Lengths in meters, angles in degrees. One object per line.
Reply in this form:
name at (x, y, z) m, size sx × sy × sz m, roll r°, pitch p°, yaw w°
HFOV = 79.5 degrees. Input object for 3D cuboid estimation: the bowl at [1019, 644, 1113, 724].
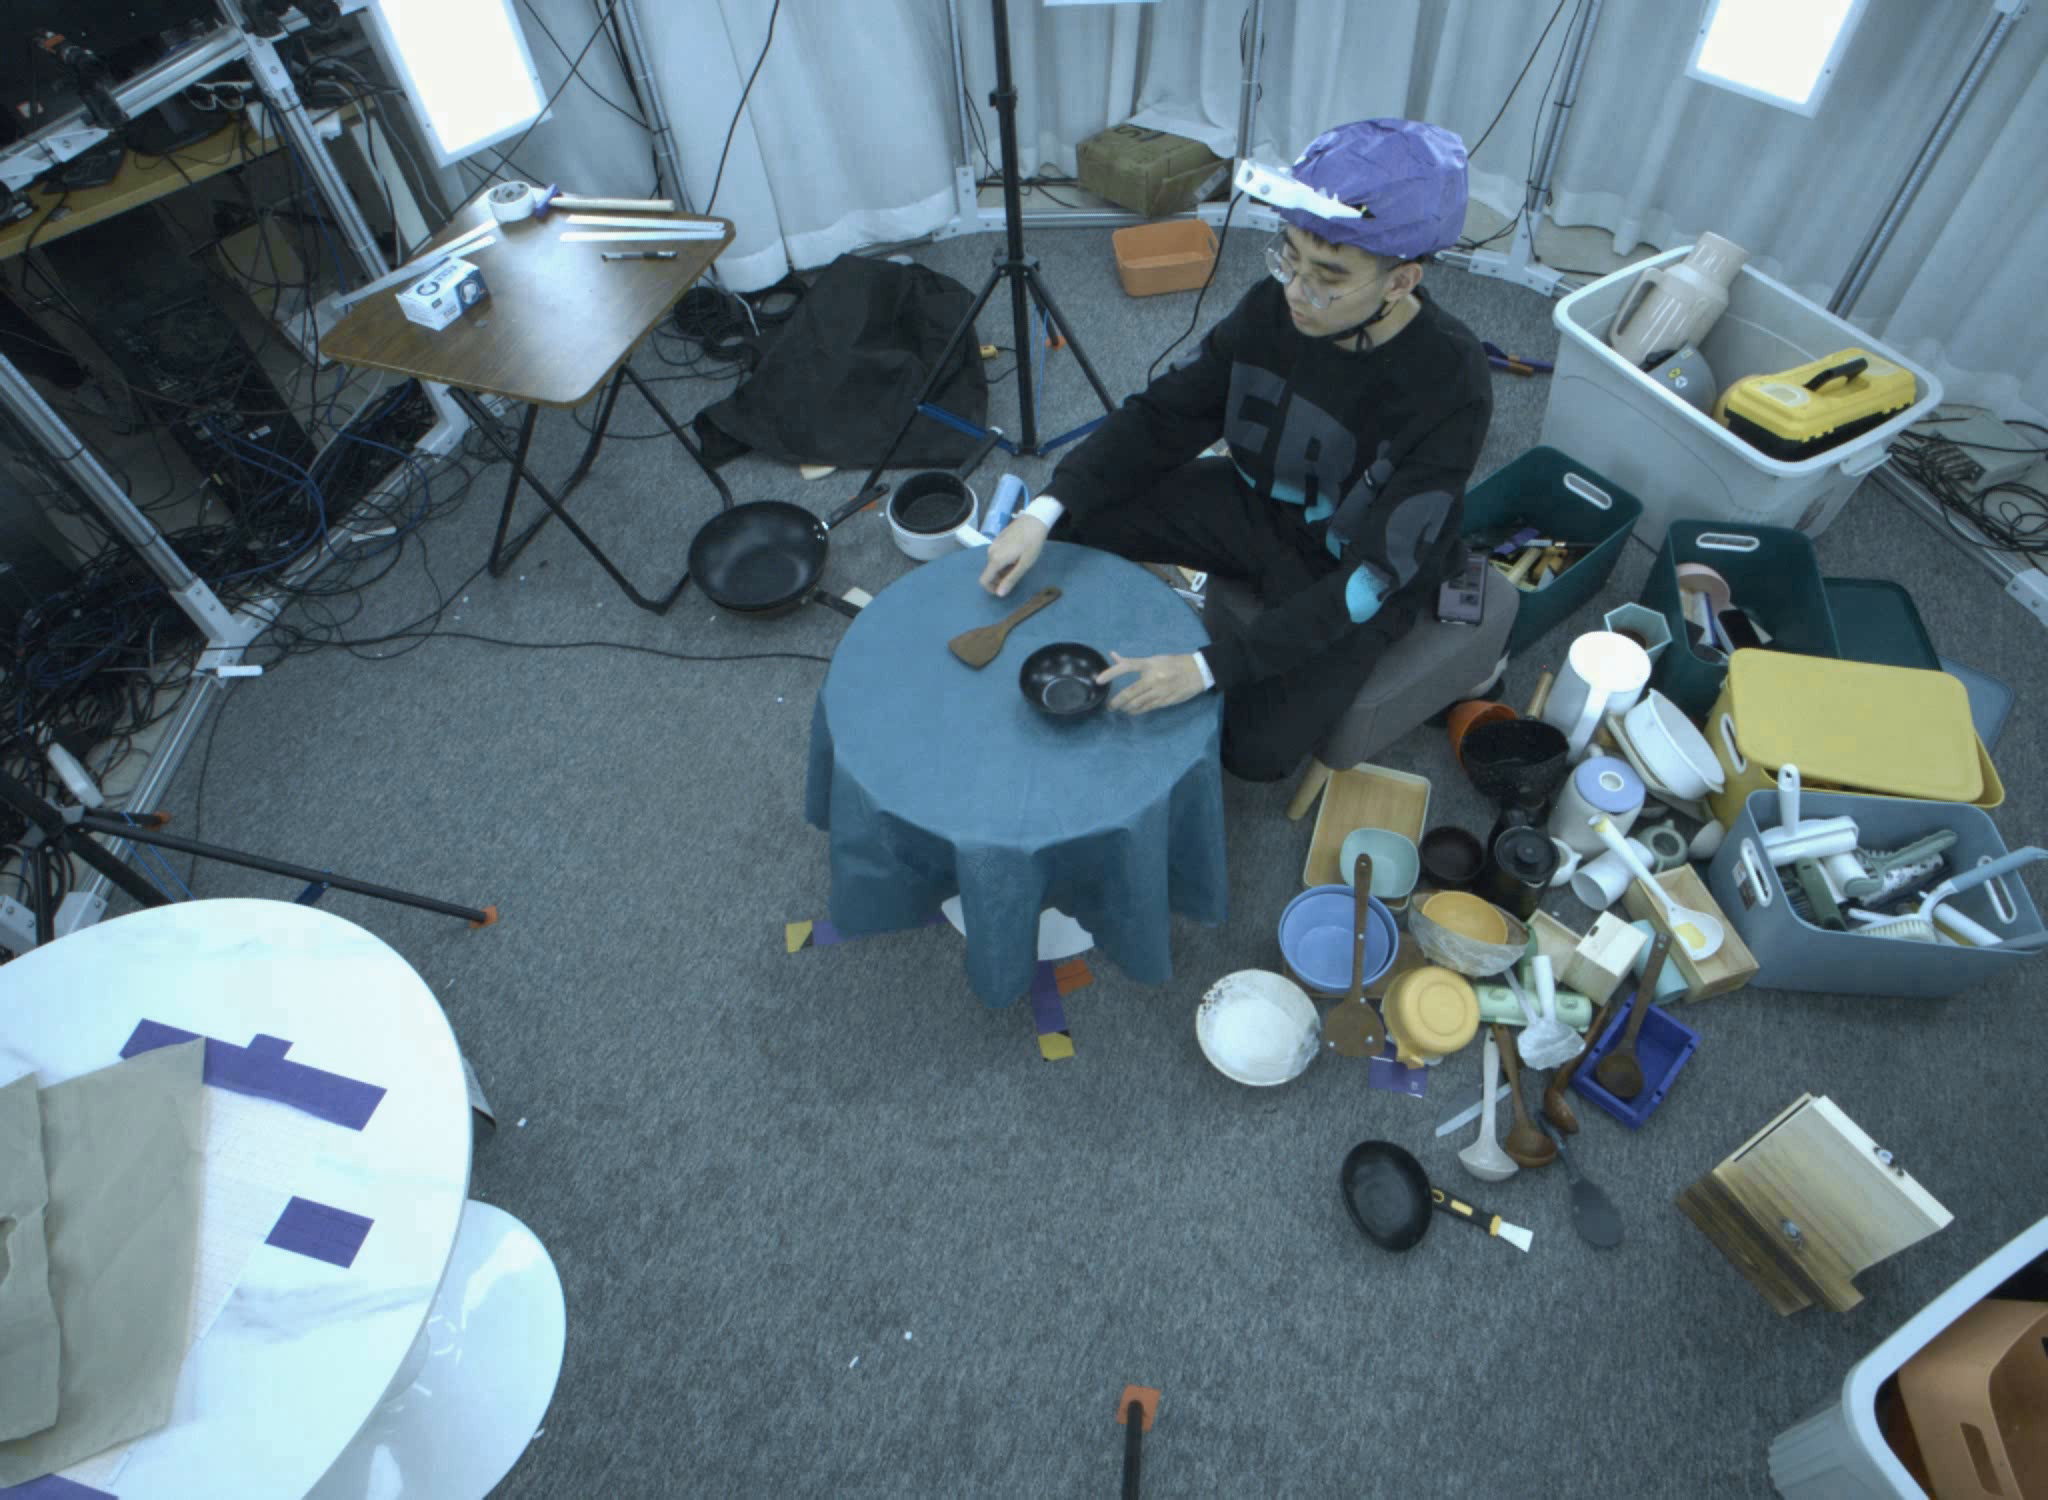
bowl at (0.065, -0.089, 1.827) m, size 0.139 × 0.050 × 0.138 m, roll -3°, pitch 55°, yaw 5°

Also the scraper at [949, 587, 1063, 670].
scraper at (-0.021, -0.197, 1.932) m, size 0.213 × 0.011 × 0.074 m, roll -38°, pitch 64°, yaw -23°
